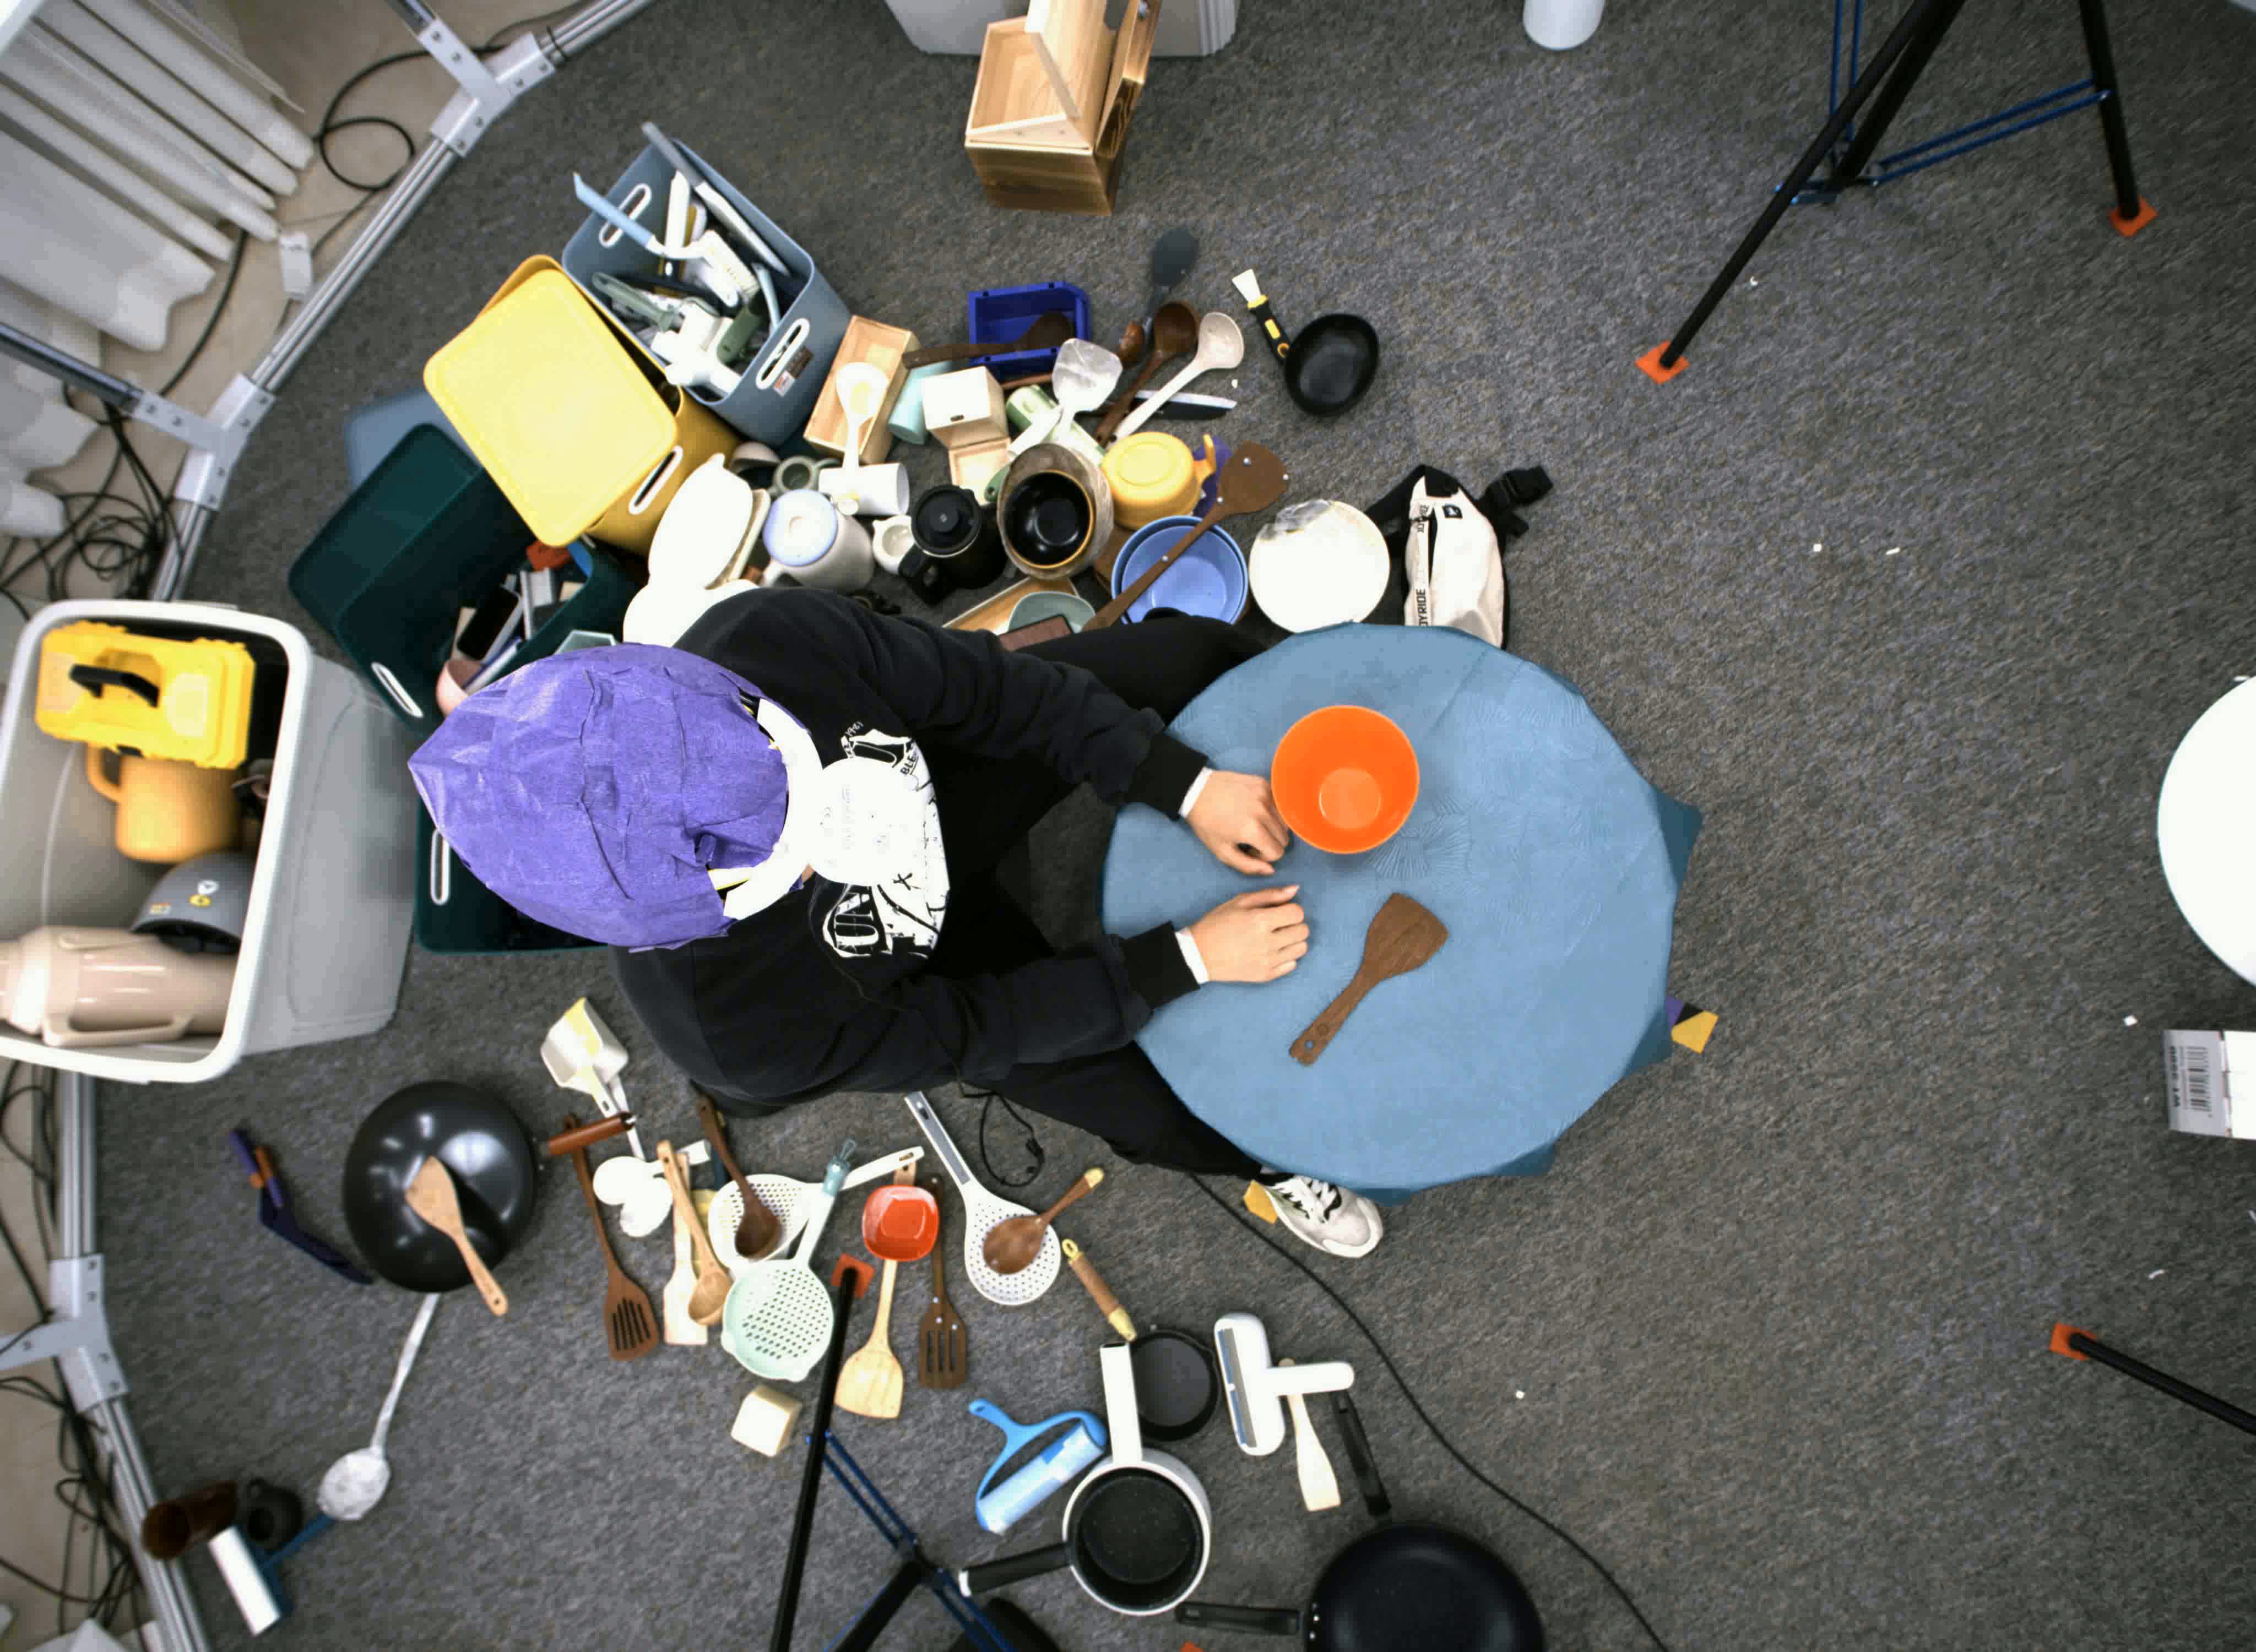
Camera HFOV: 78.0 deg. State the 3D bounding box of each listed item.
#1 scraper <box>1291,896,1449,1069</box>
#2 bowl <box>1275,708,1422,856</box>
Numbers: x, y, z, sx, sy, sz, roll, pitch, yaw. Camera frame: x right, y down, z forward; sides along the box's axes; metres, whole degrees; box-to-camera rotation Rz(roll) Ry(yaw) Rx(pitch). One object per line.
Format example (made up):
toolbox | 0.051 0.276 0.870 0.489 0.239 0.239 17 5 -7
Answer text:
scraper | 0.247 0.170 1.458 0.075 0.011 0.212 41 94 11
bowl | 0.229 -0.041 1.429 0.148 0.105 0.147 -1 85 10
